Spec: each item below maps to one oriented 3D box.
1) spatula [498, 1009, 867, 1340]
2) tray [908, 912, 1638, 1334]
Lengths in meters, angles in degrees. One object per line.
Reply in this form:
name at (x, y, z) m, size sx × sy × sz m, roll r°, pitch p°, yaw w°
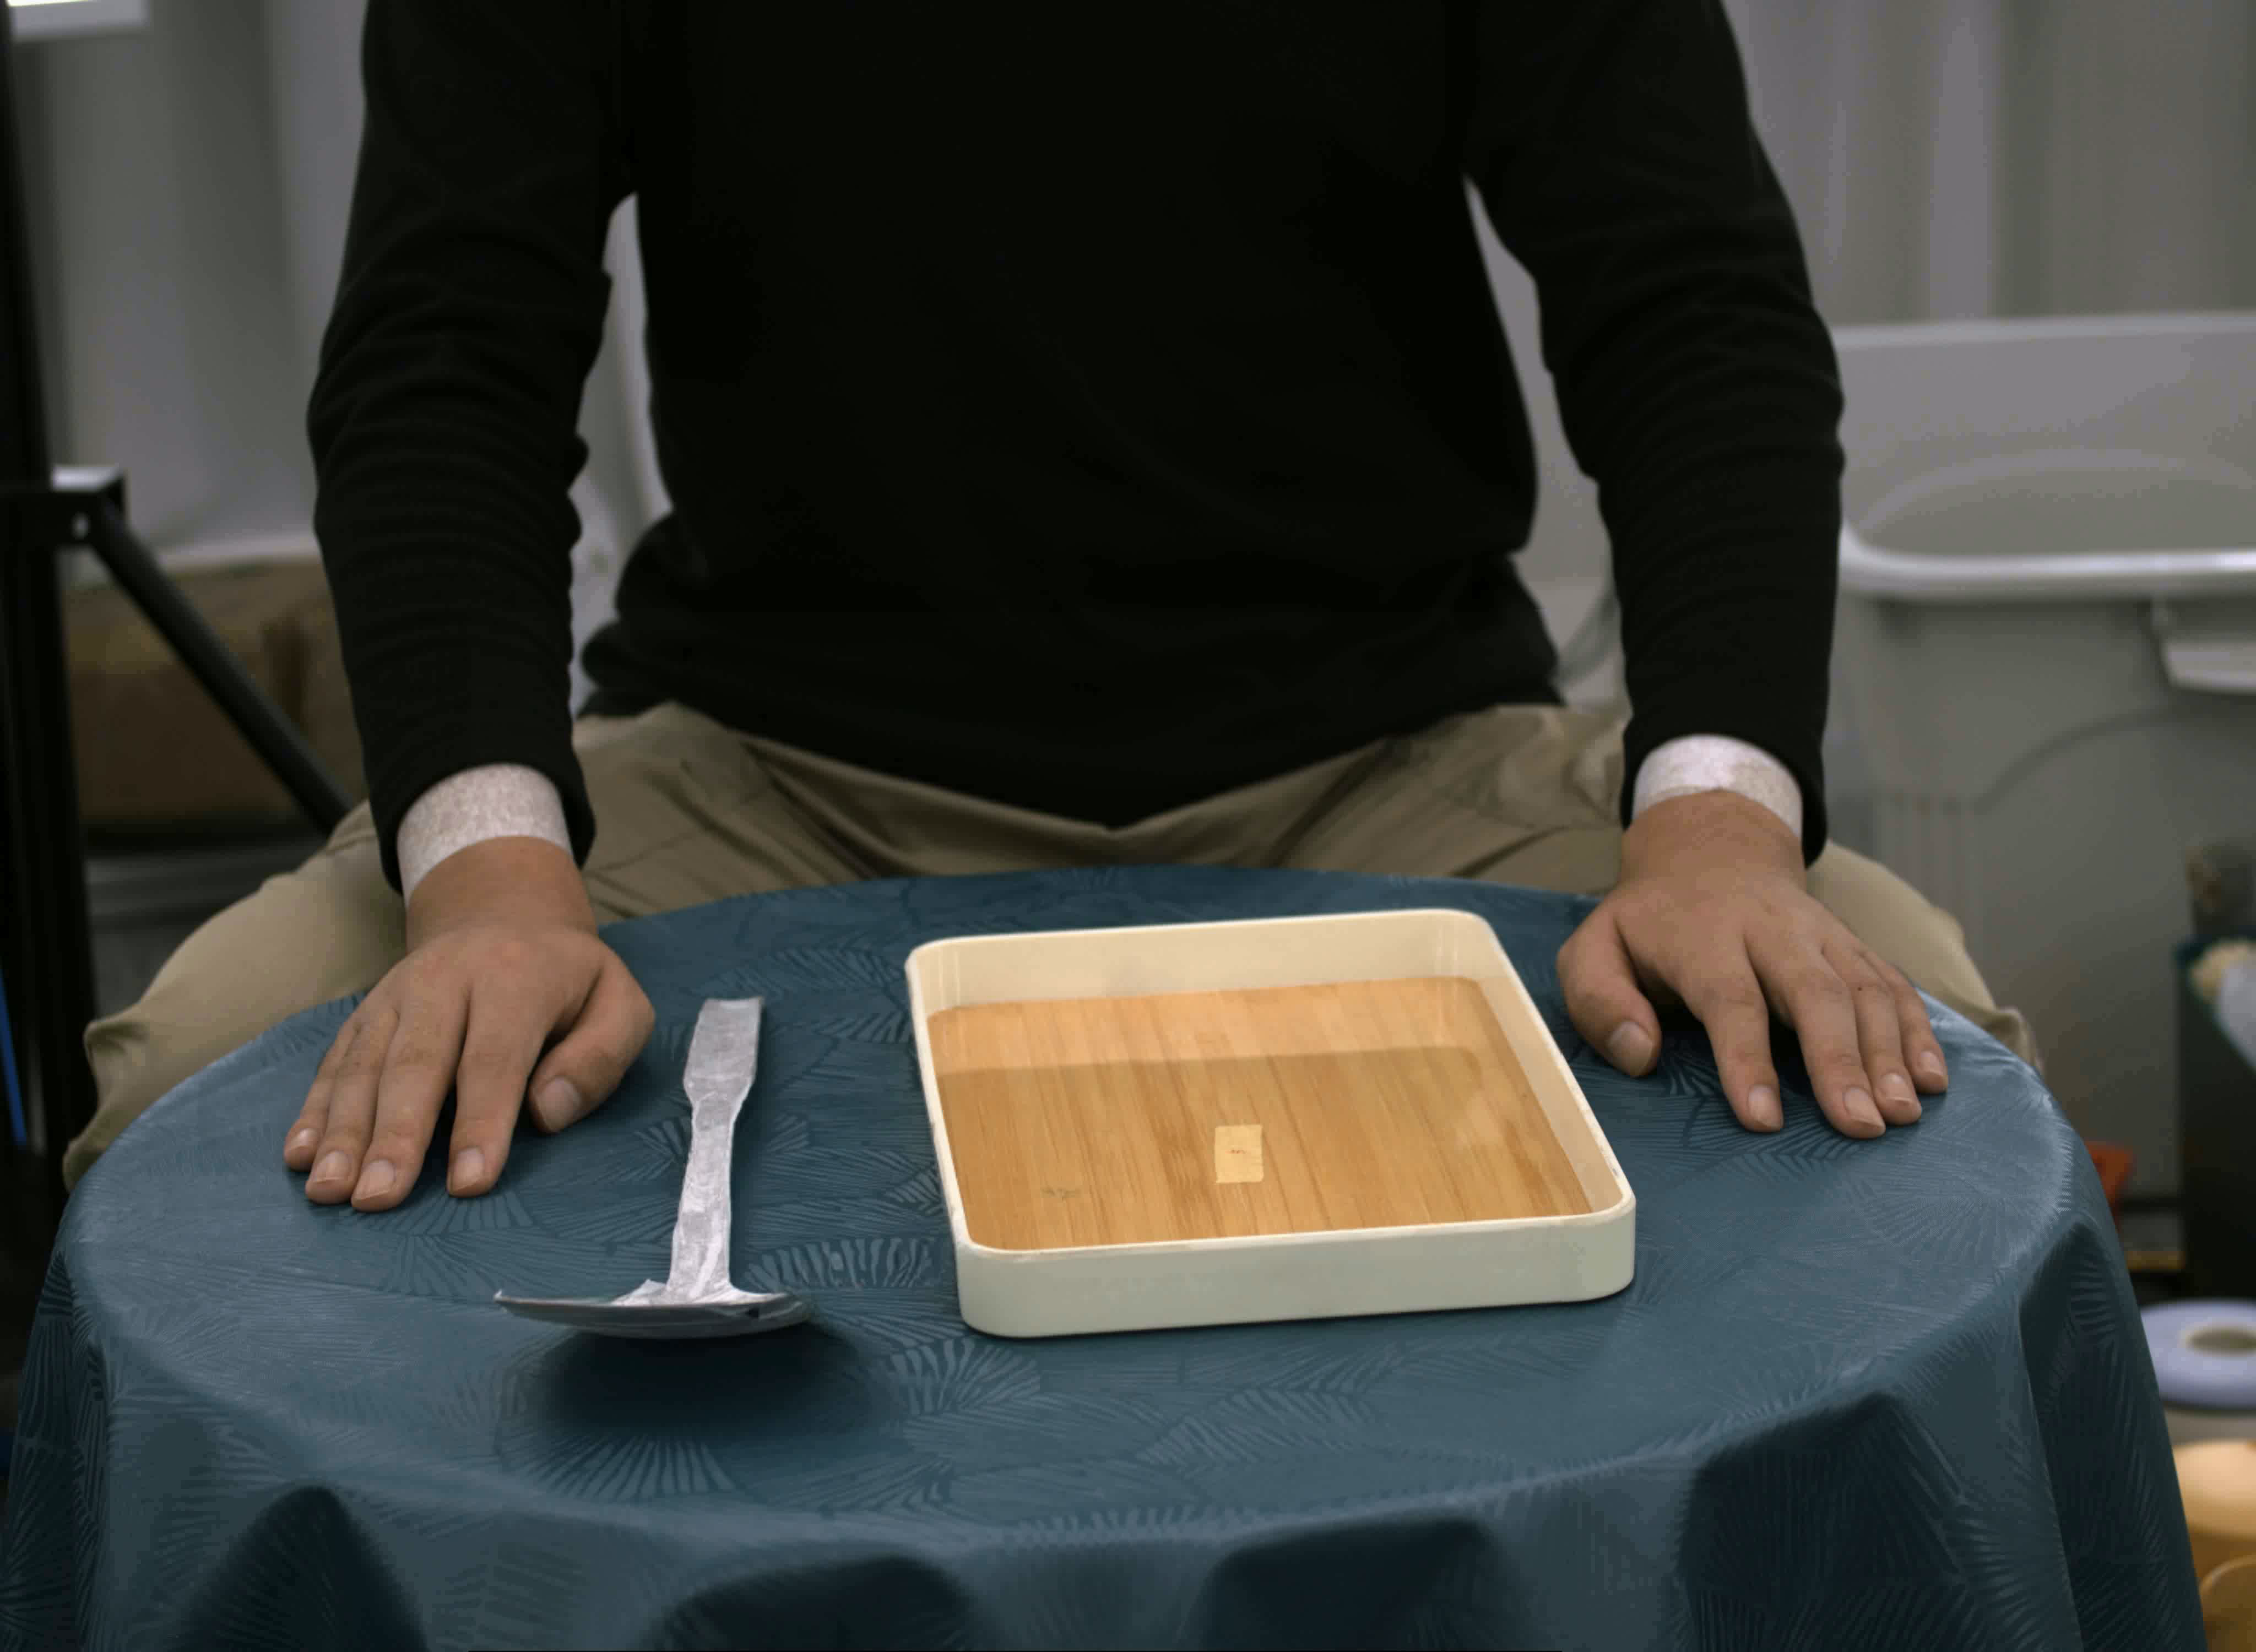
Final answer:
spatula at (-0.120, 0.093, 1.560) m, size 0.098 × 0.045 × 0.366 m, roll -3°, pitch 16°, yaw 0°
tray at (0.036, 0.084, 1.586) m, size 0.190 × 0.027 × 0.302 m, roll -4°, pitch 16°, yaw -3°
